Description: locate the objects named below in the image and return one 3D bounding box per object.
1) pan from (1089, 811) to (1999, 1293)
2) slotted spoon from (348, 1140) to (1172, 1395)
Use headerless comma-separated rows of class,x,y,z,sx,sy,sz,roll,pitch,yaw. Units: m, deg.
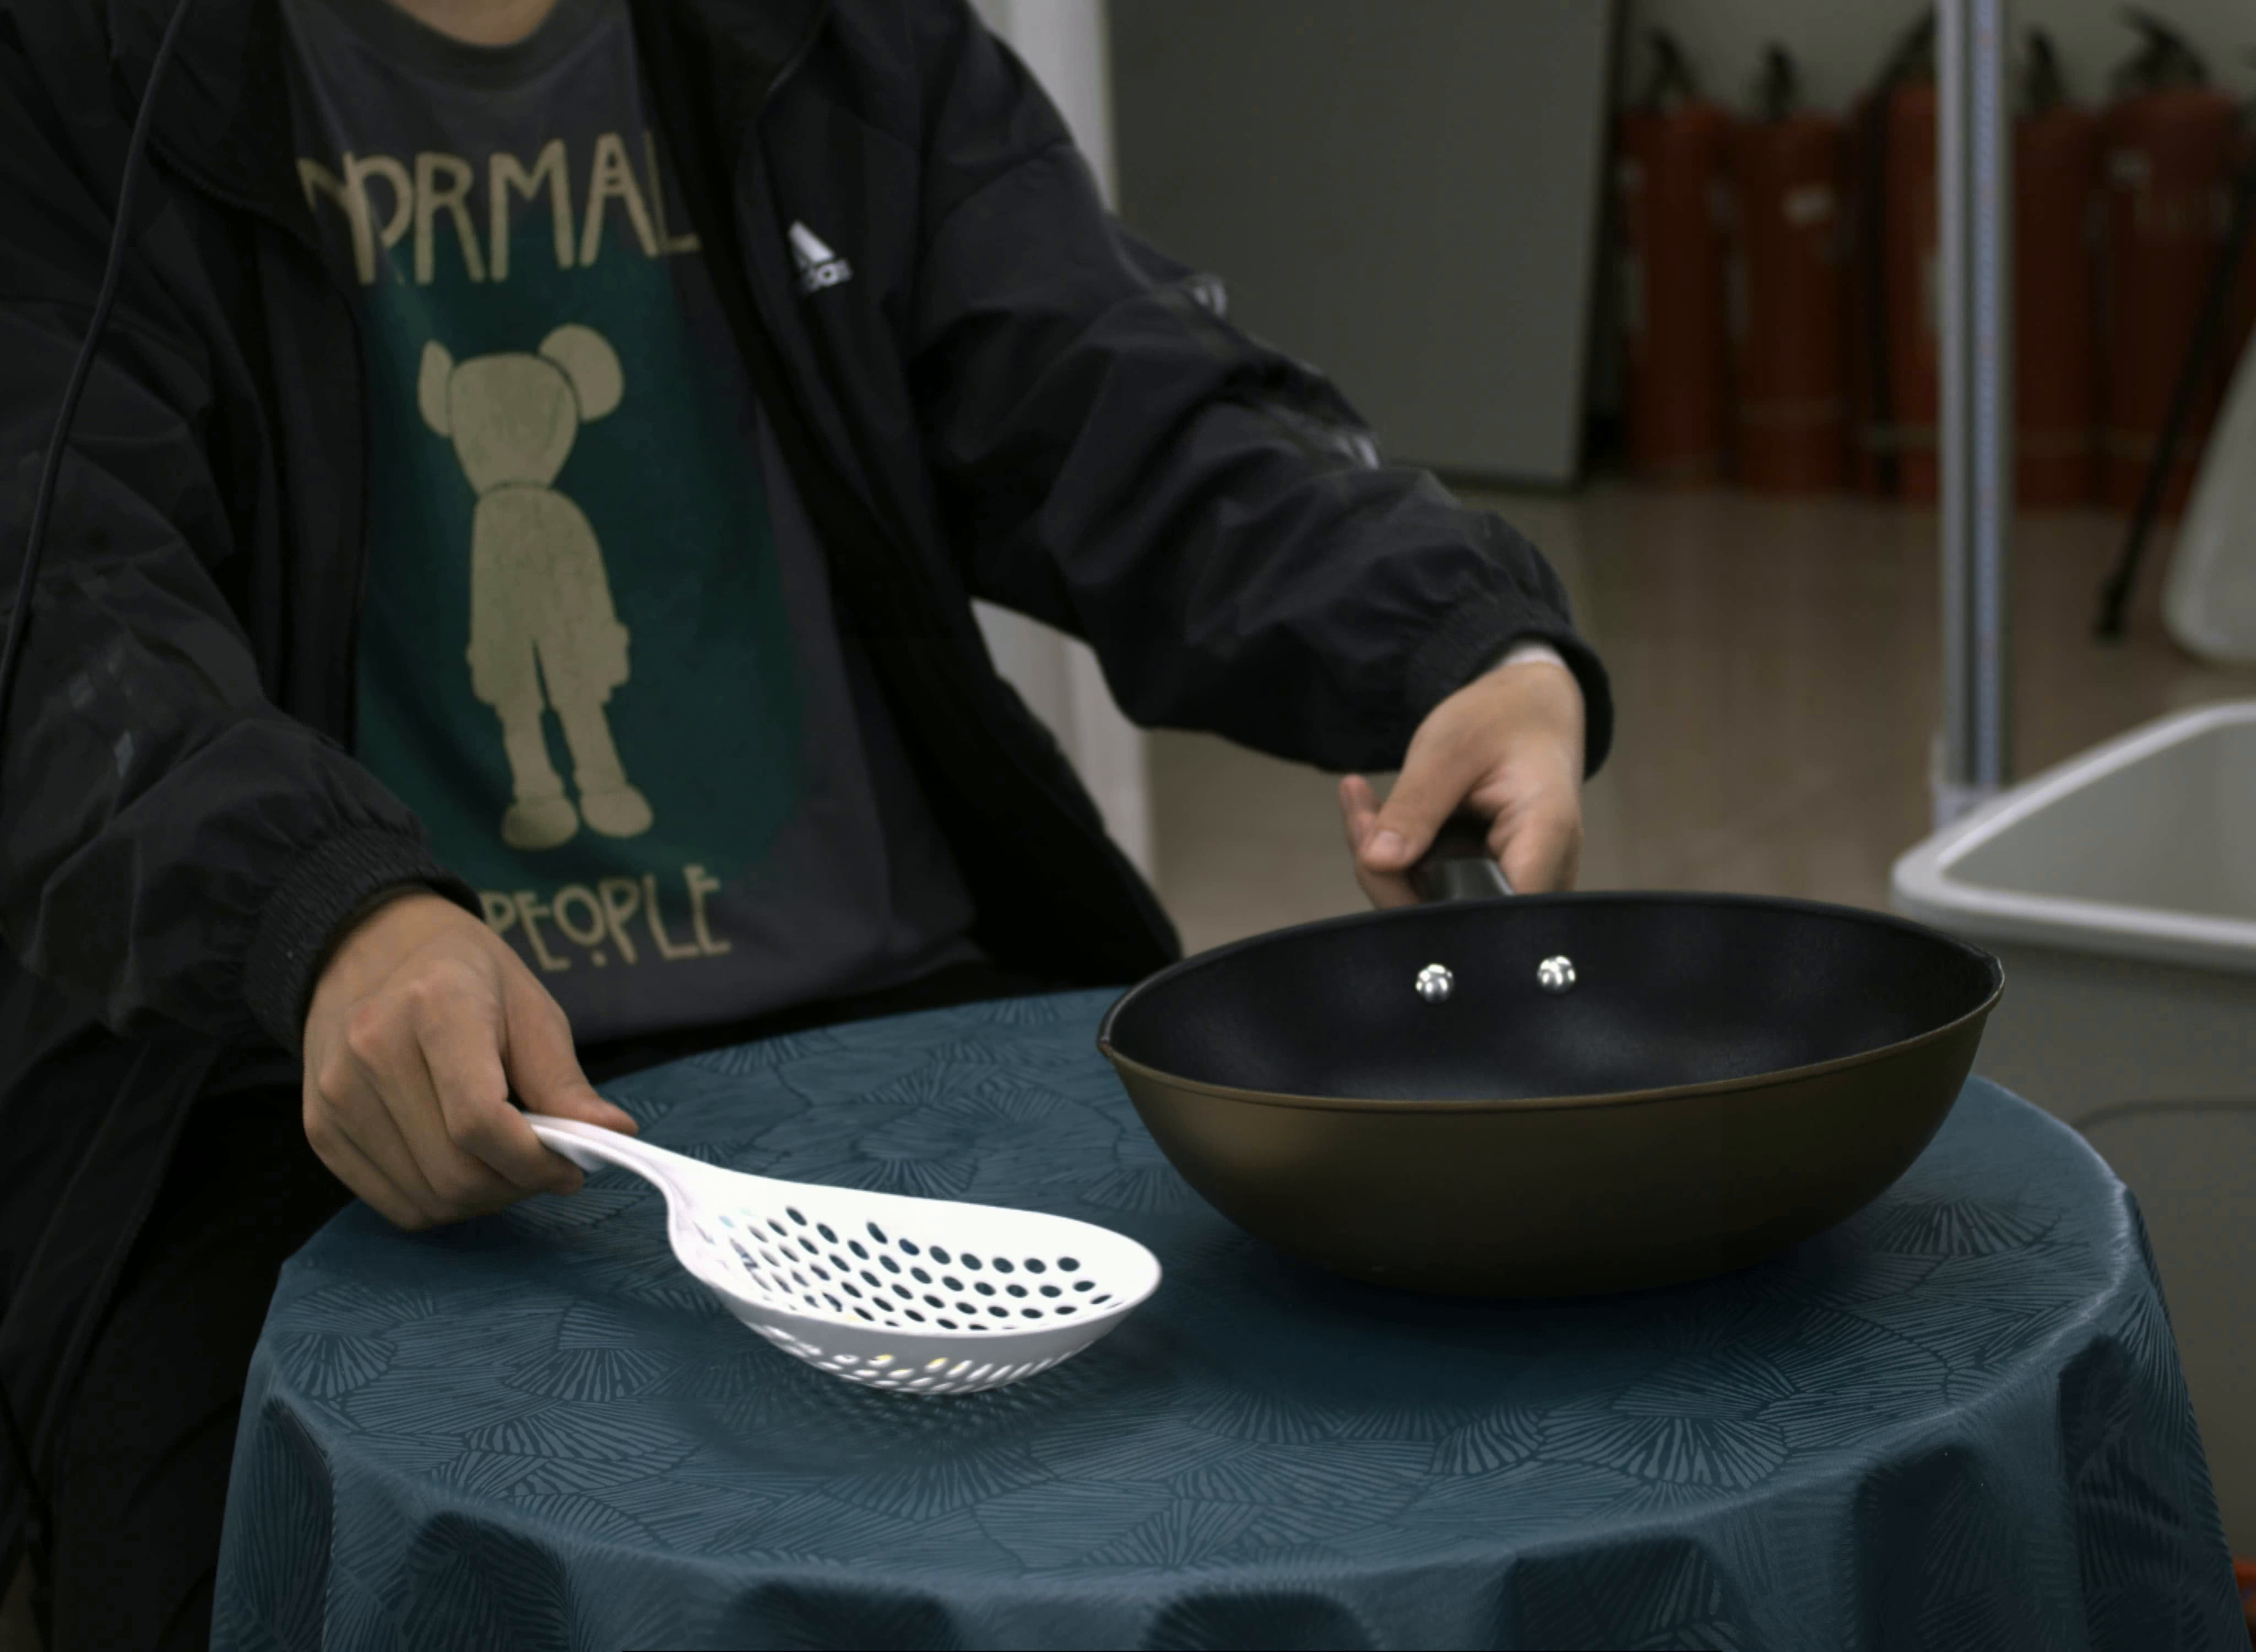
pan,0.126,0.071,1.772,0.284,0.088,0.464,-5,10,-2
slotted spoon,-0.130,0.124,1.680,0.134,0.051,0.351,-11,19,-41
